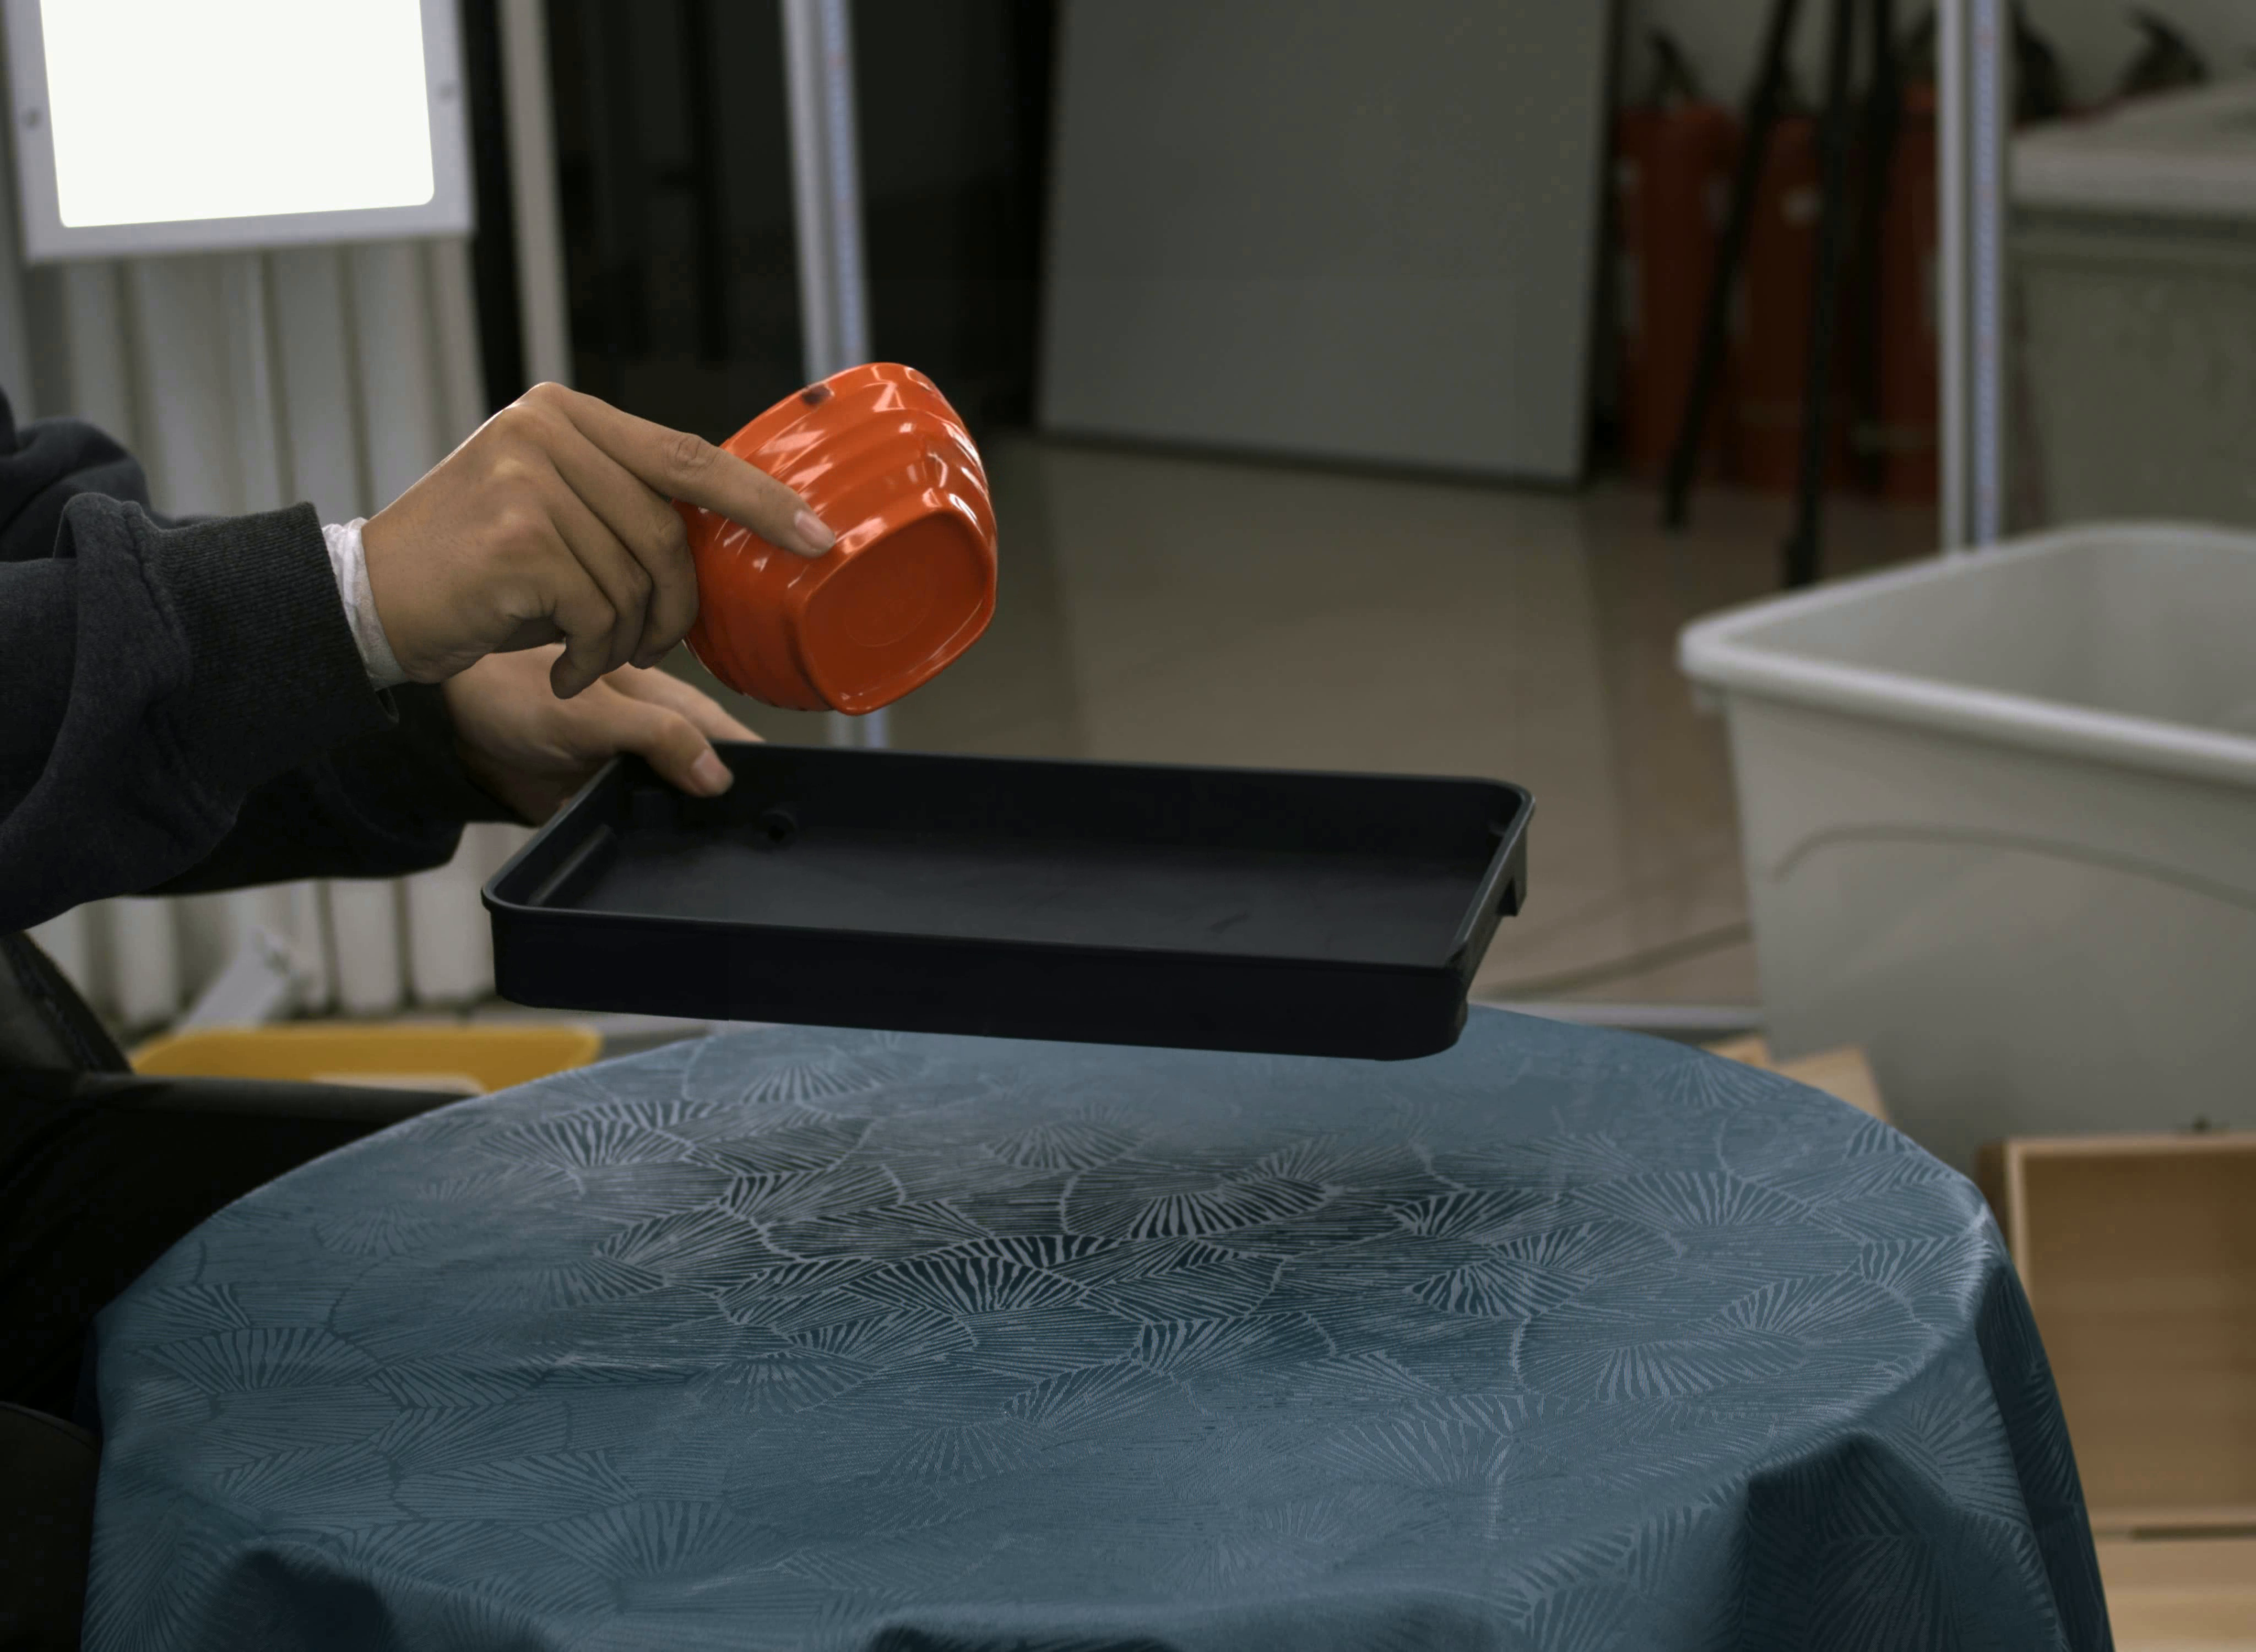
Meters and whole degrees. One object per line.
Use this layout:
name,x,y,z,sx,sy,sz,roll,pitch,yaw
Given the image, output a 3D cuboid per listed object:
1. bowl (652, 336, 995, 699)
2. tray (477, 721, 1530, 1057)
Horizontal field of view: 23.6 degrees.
bowl,-0.082,-0.083,1.630,0.116,0.120,0.052,-12,44,-33
tray,-0.036,0.018,1.736,0.316,0.037,0.183,4,18,13
